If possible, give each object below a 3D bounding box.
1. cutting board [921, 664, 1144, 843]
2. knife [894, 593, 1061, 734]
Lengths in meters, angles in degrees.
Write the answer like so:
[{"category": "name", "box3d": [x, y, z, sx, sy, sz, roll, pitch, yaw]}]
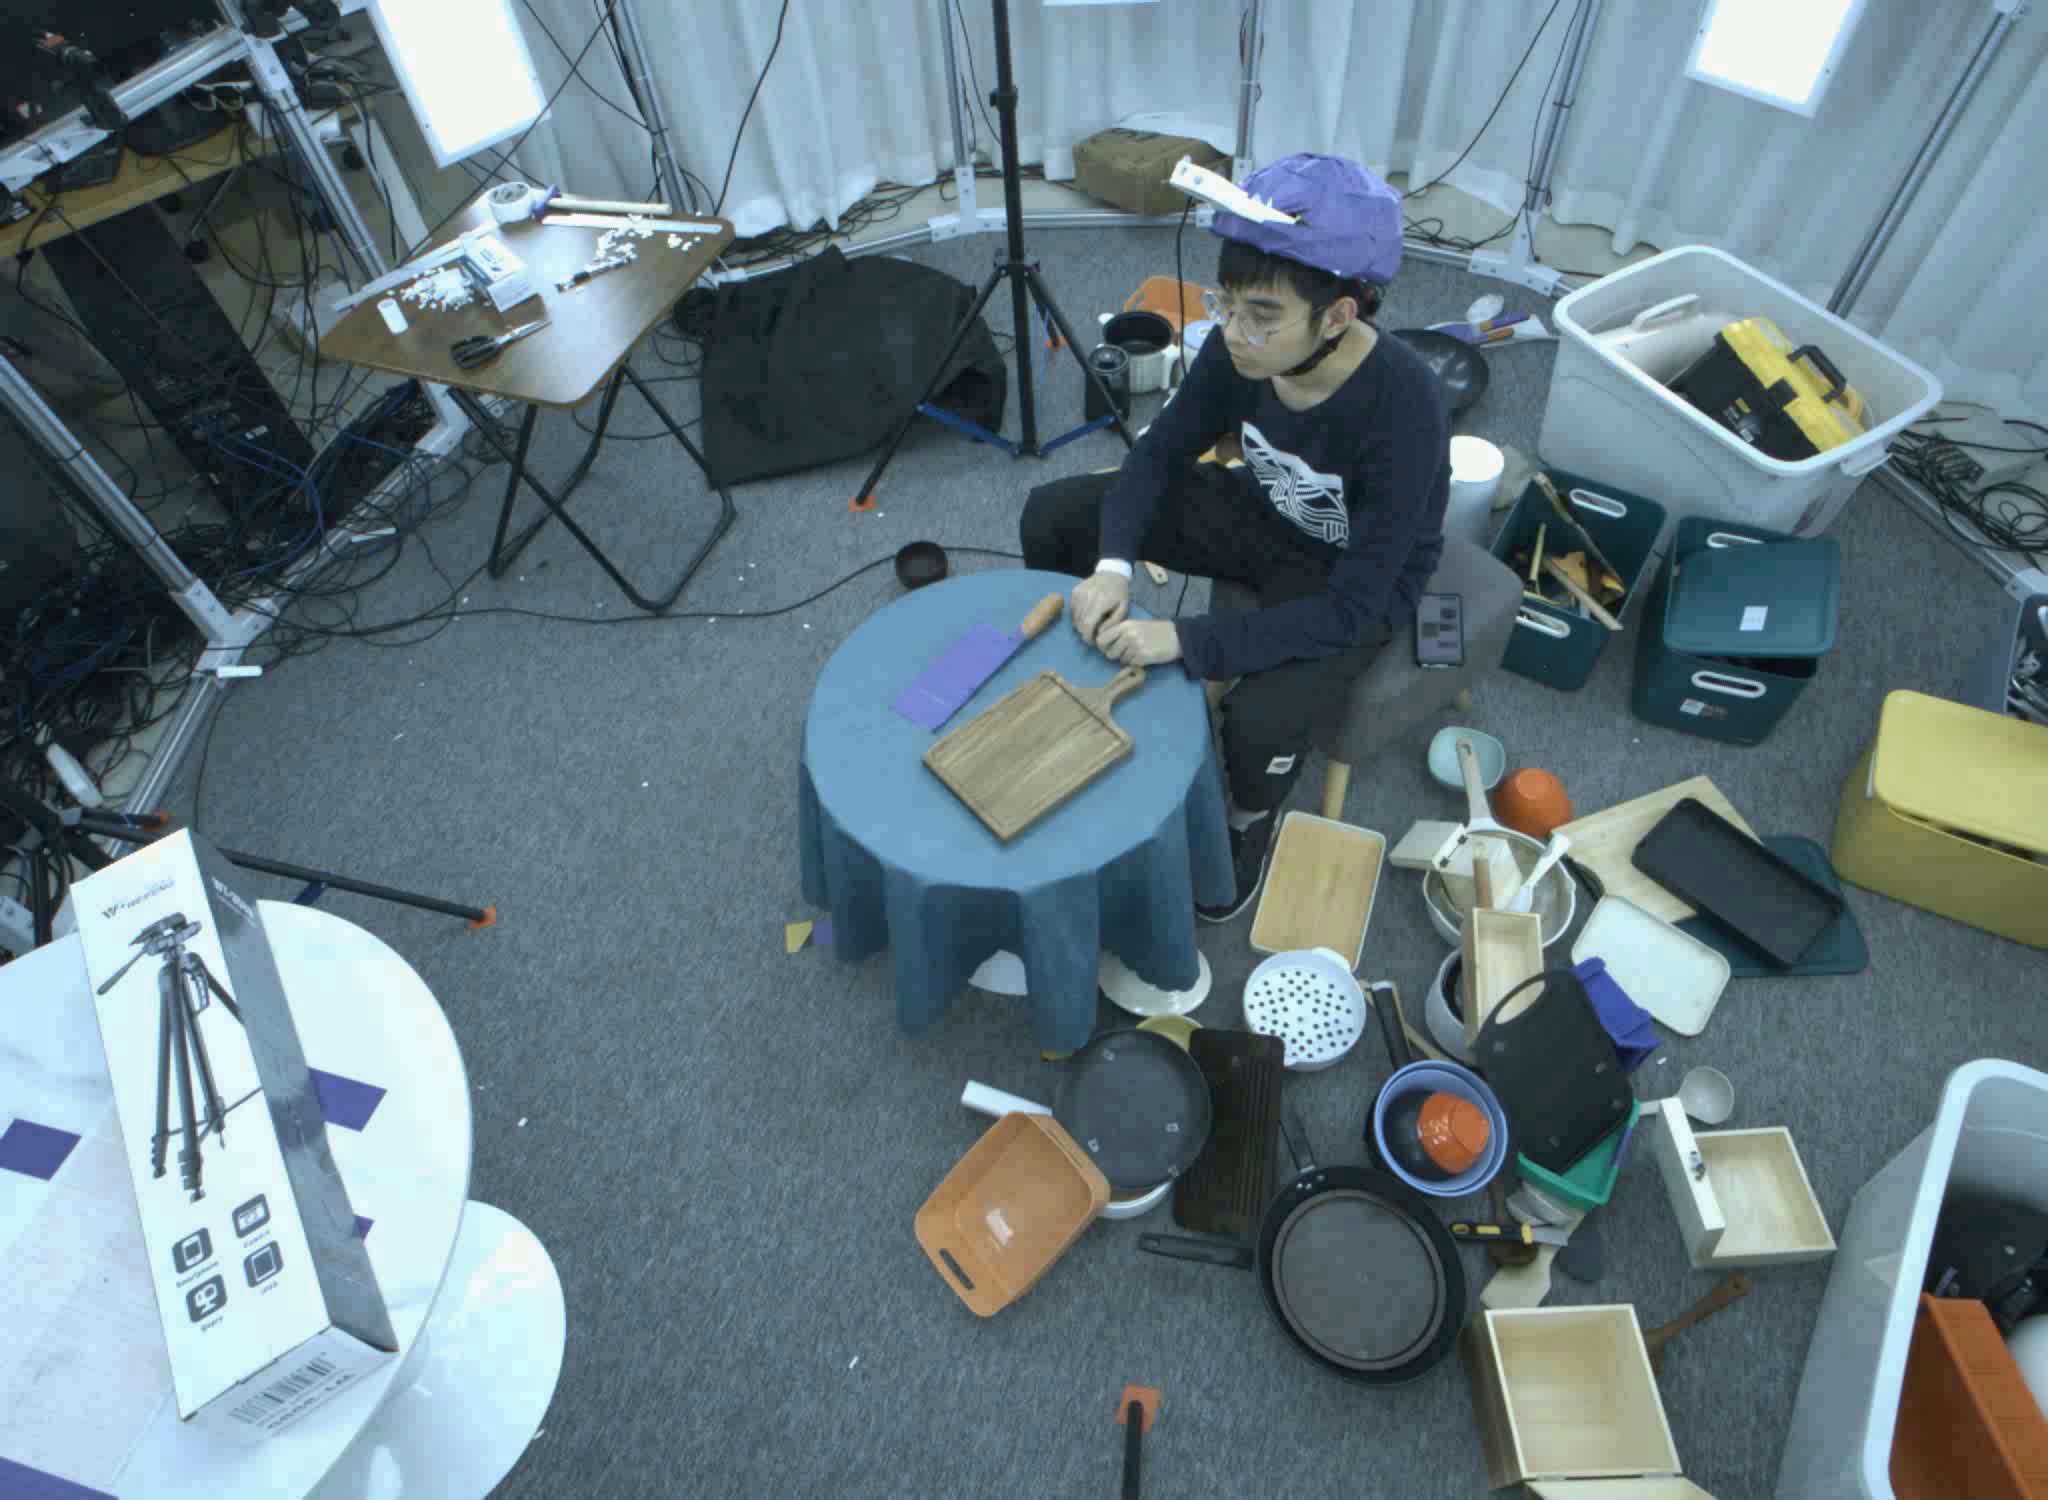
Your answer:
[{"category": "cutting board", "box3d": [0.043, -0.025, 1.799, 0.355, 0.023, 0.197, -35, 61, -22]}, {"category": "knife", "box3d": [-0.072, -0.151, 1.888, 0.102, 0.032, 0.317, 32, 62, 22]}]
